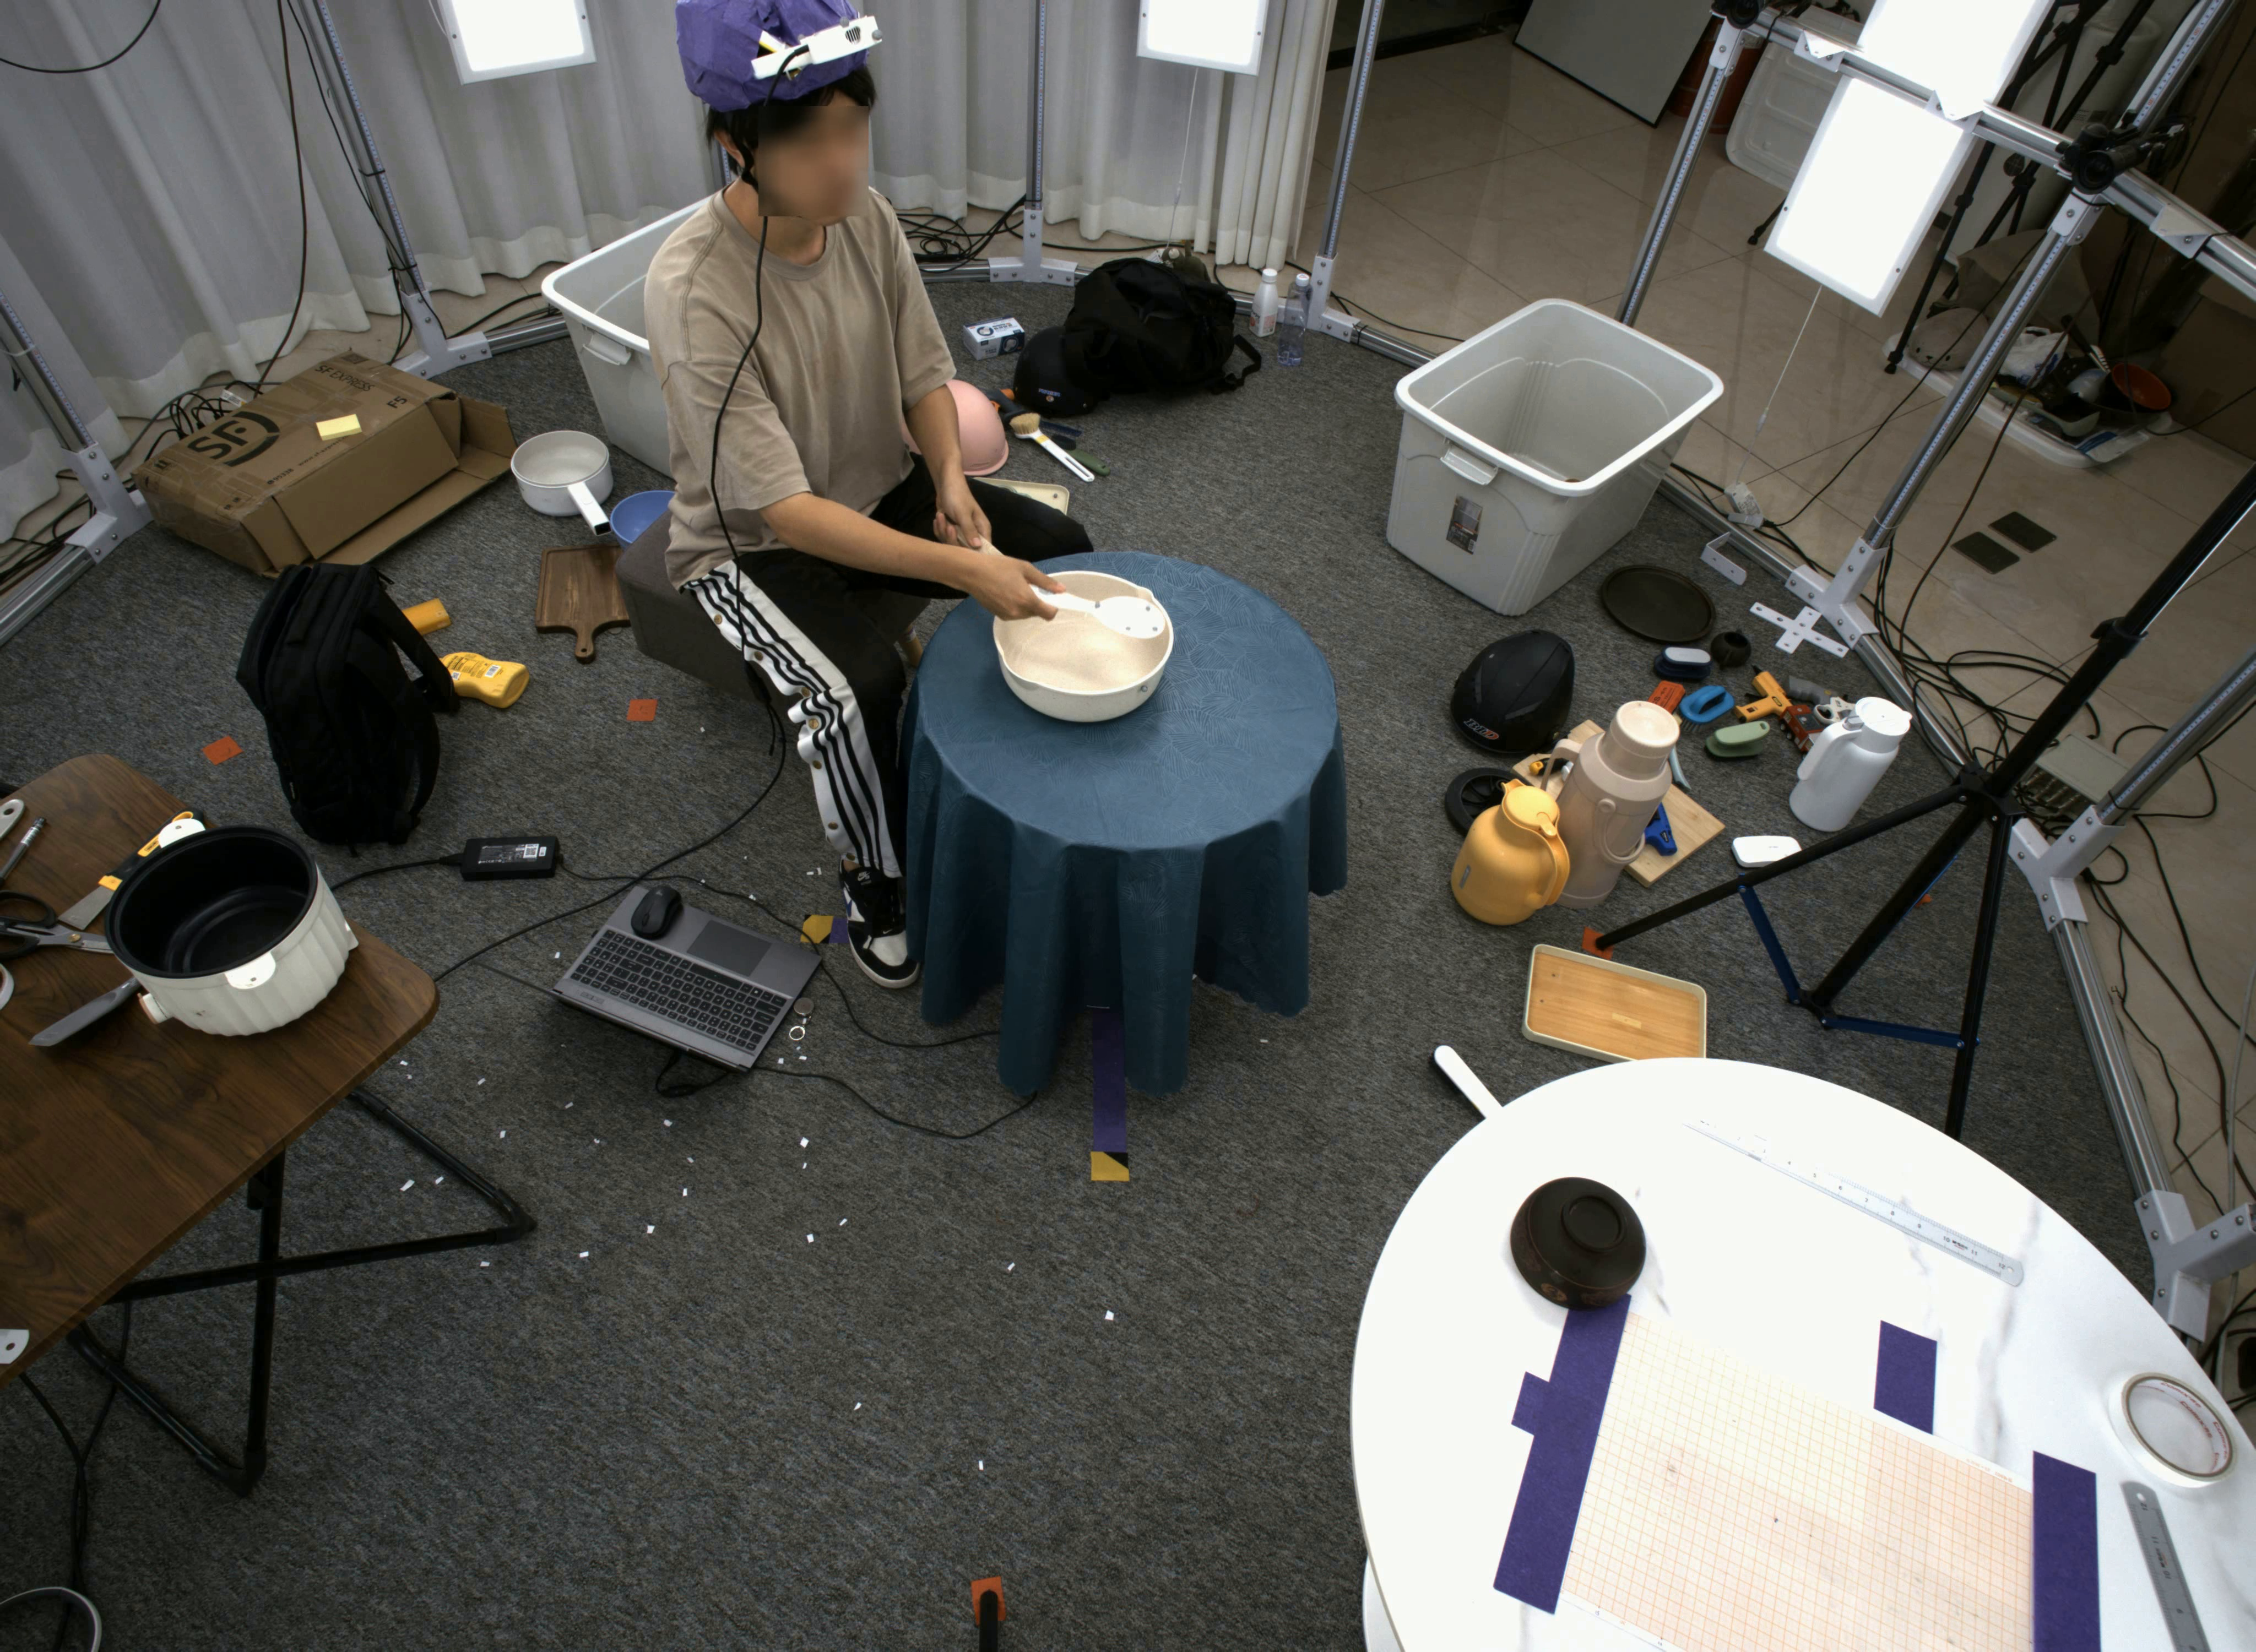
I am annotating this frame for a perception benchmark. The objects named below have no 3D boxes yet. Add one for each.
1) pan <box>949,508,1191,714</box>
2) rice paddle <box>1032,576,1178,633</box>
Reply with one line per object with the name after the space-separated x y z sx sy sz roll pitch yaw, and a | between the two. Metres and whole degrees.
-0.104 -0.317 1.859 0.266 0.099 0.441 -36 60 -28 | pan
-0.028 -0.306 1.766 0.204 0.029 0.070 11 54 -9 | rice paddle
